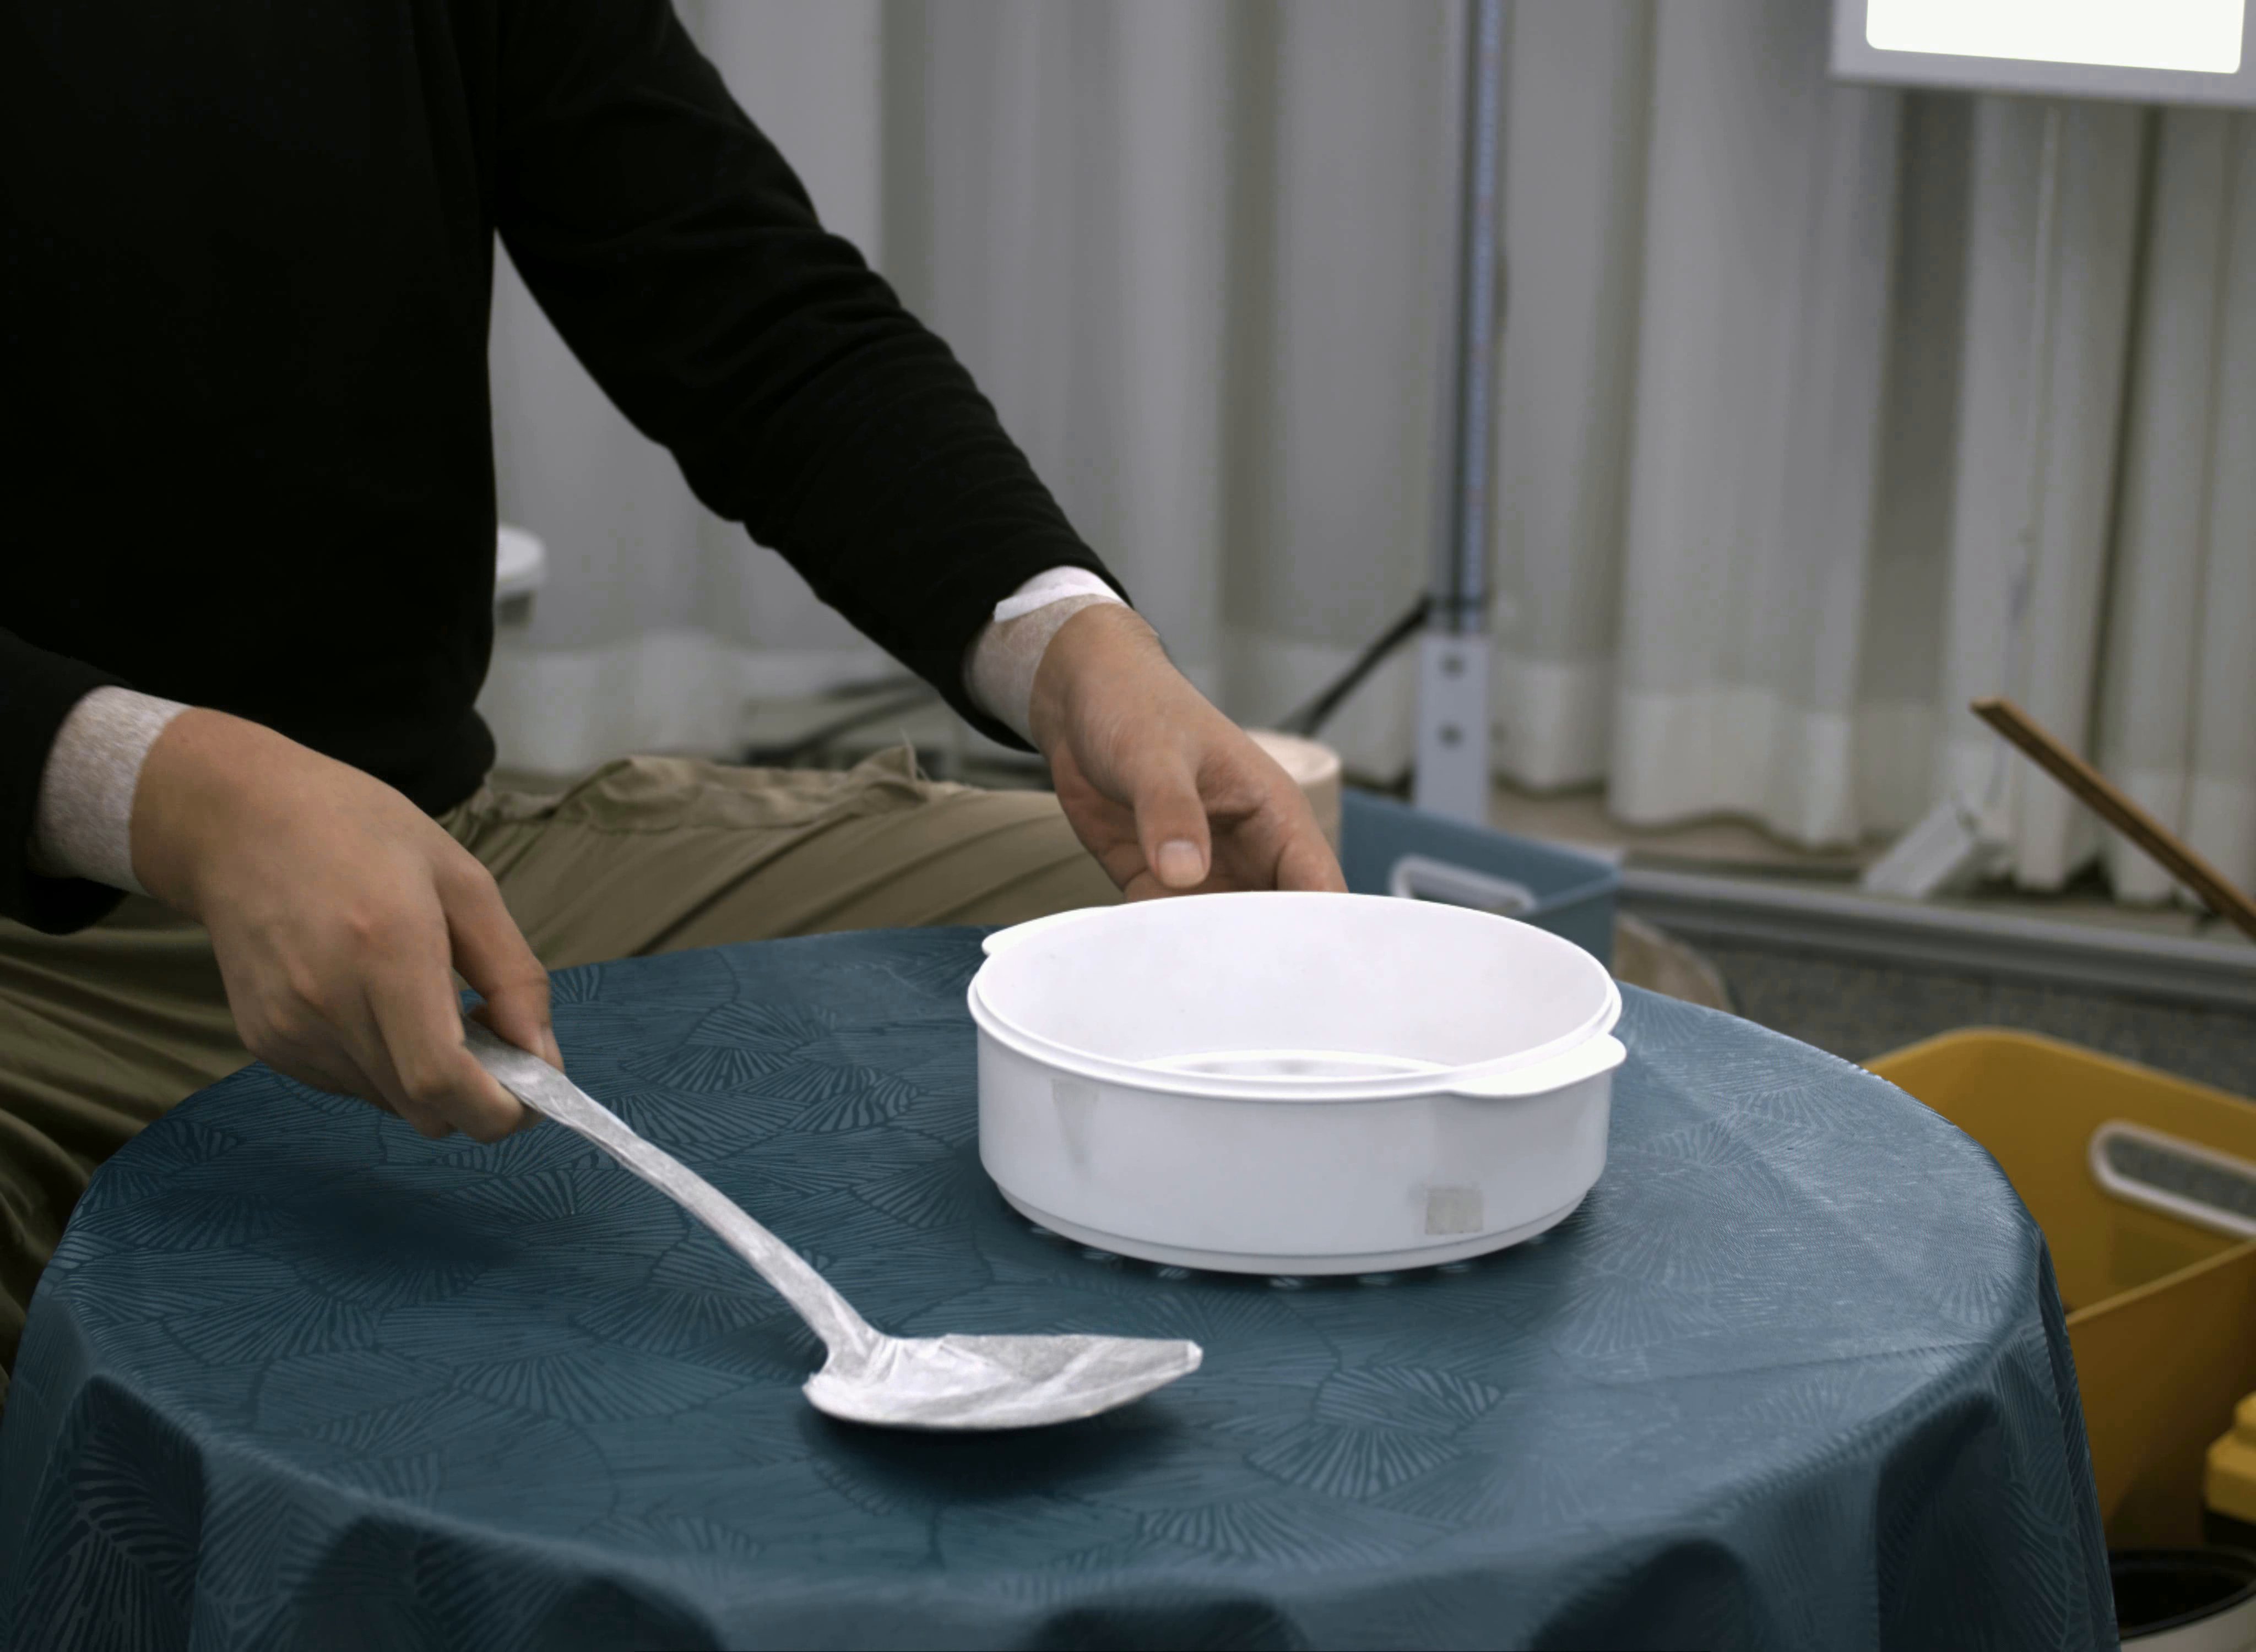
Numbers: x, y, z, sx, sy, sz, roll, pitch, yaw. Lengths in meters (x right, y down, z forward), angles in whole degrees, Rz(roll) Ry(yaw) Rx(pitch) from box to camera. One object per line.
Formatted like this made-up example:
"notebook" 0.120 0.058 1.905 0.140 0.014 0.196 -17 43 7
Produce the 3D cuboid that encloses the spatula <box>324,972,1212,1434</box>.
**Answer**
"spatula" -0.126 0.100 1.512 0.099 0.045 0.360 -16 34 -42

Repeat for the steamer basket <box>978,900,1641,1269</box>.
"steamer basket" 0.054 0.079 1.613 0.227 0.070 0.203 14 19 42
